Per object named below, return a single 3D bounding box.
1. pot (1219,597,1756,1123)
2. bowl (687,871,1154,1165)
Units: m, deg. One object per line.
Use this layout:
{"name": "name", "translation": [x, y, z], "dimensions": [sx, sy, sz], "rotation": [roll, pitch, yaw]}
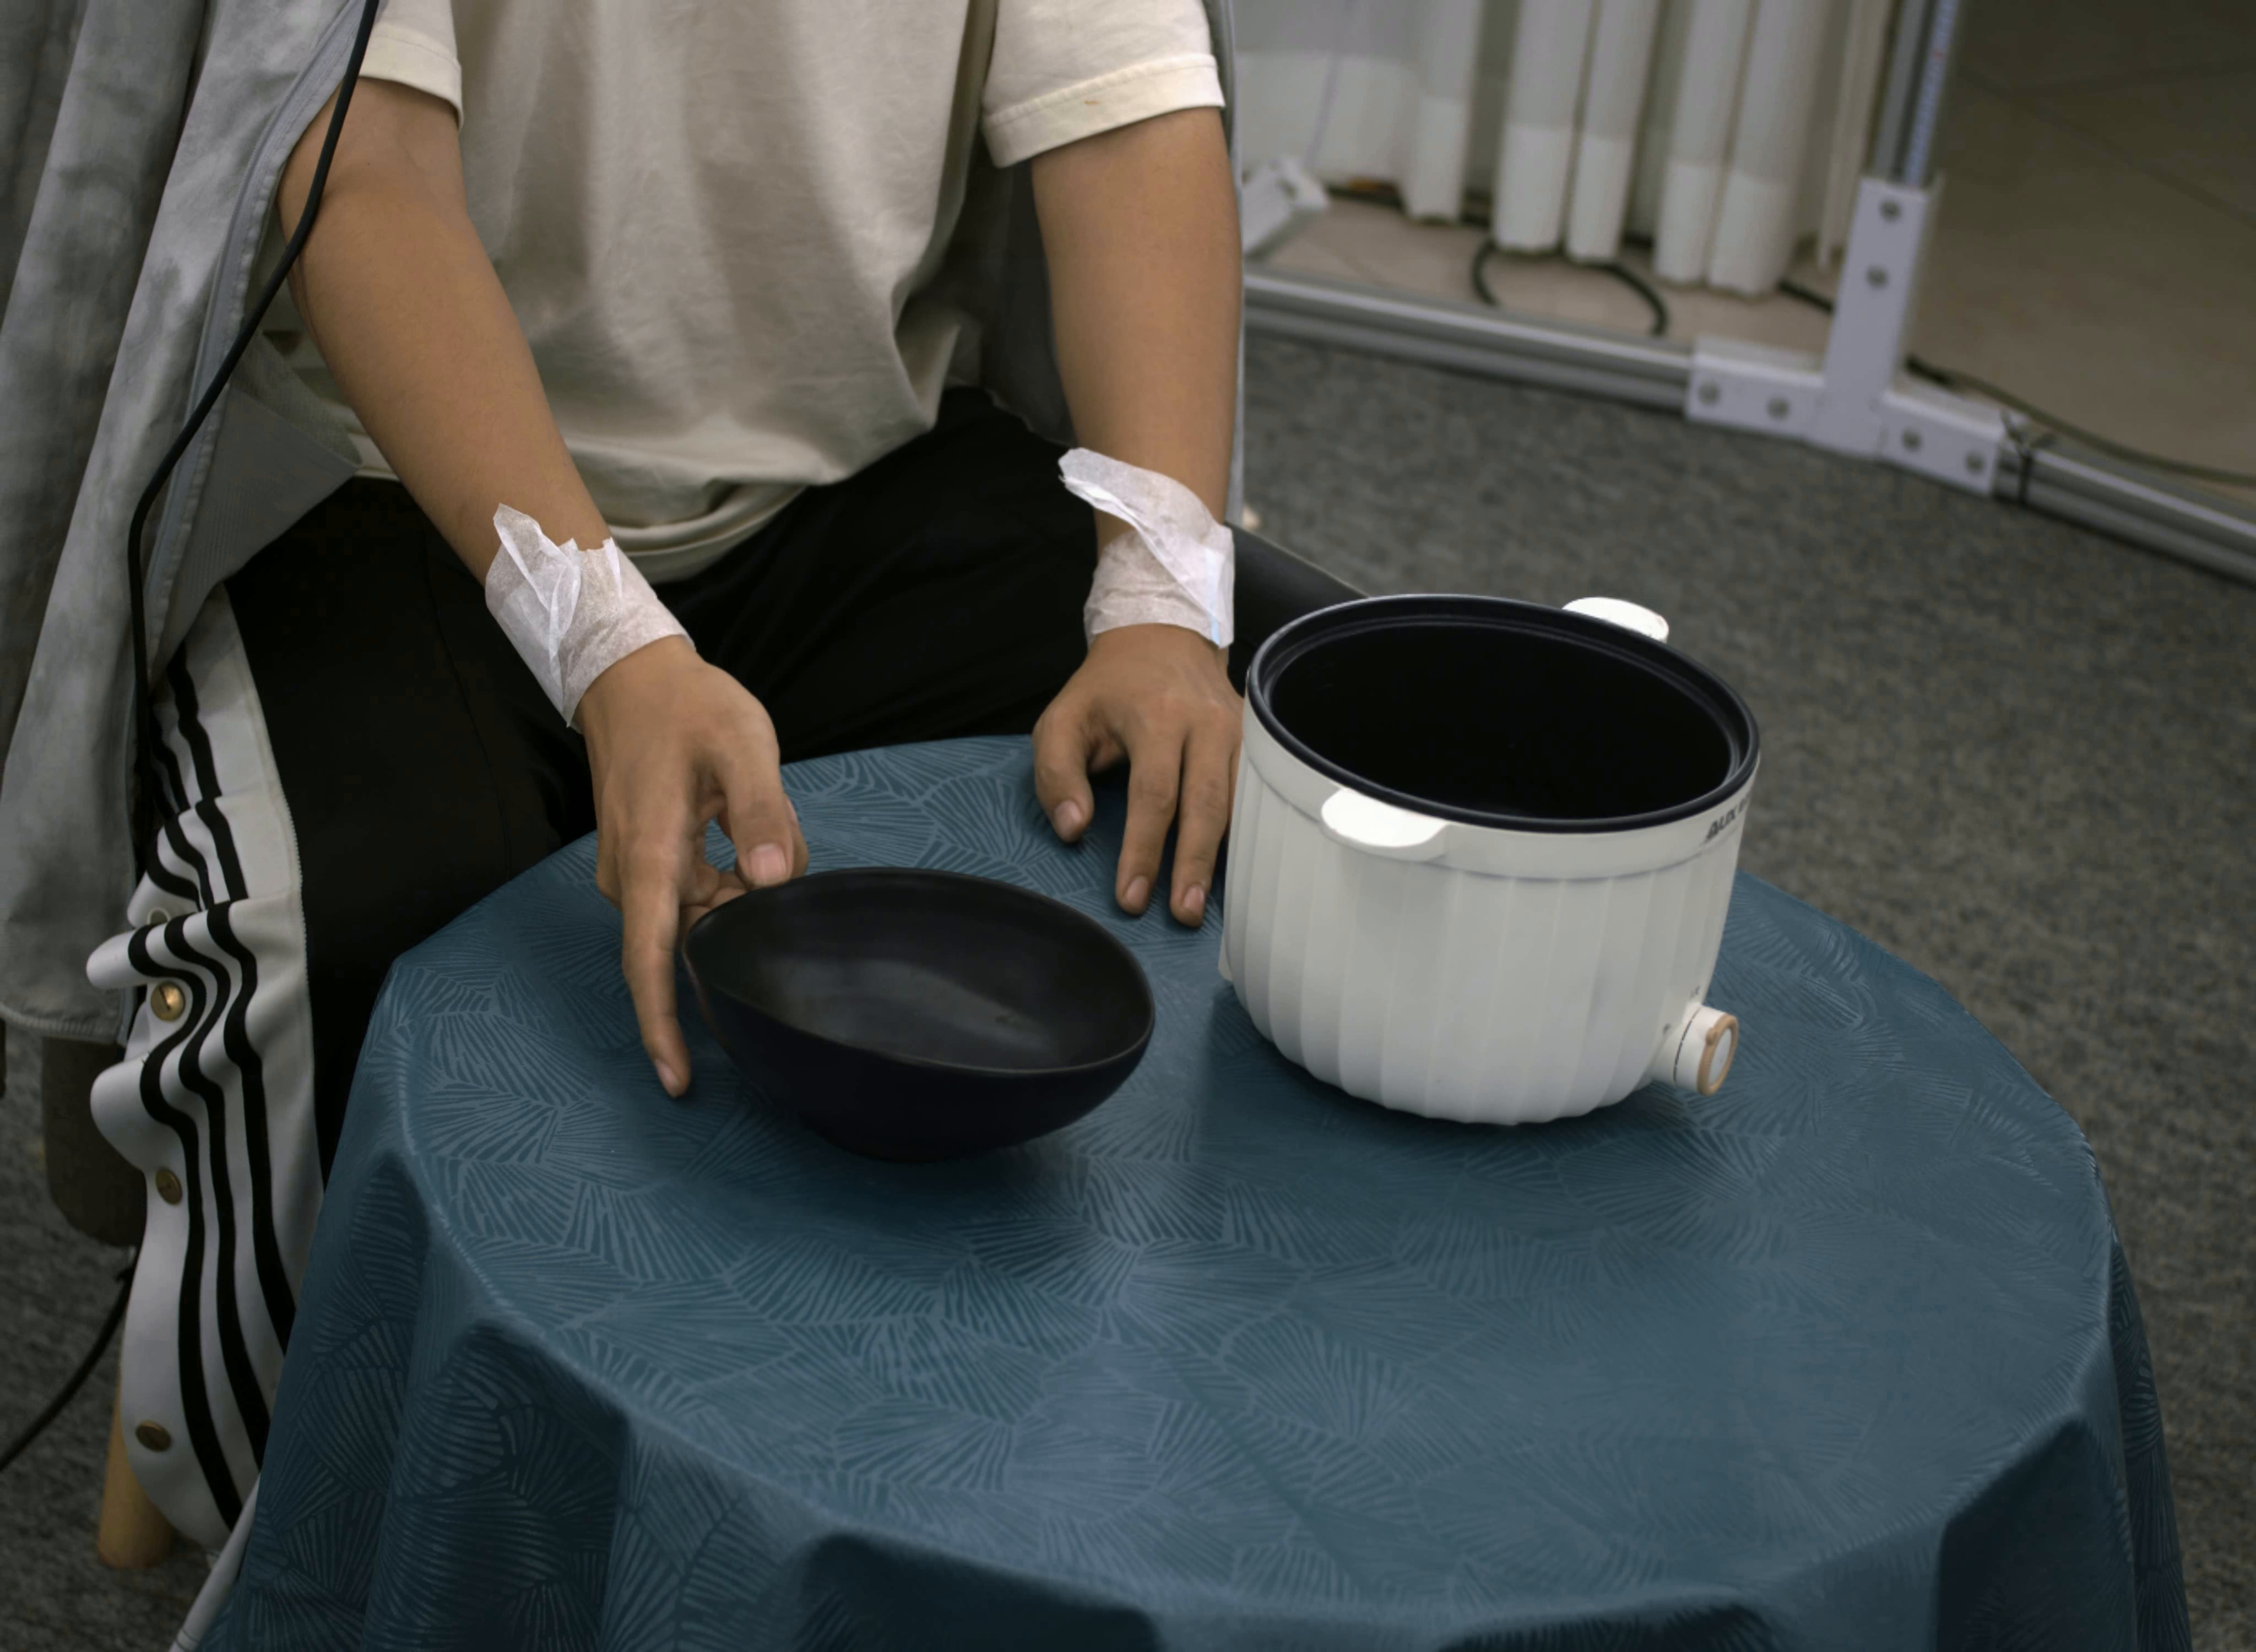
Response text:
{"name": "pot", "translation": [0.129, 0.017, 1.891], "dimensions": [0.191, 0.142, 0.240], "rotation": [15, 28, 23]}
{"name": "bowl", "translation": [-0.075, 0.073, 1.818], "dimensions": [0.171, 0.066, 0.137], "rotation": [17, 27, 22]}
